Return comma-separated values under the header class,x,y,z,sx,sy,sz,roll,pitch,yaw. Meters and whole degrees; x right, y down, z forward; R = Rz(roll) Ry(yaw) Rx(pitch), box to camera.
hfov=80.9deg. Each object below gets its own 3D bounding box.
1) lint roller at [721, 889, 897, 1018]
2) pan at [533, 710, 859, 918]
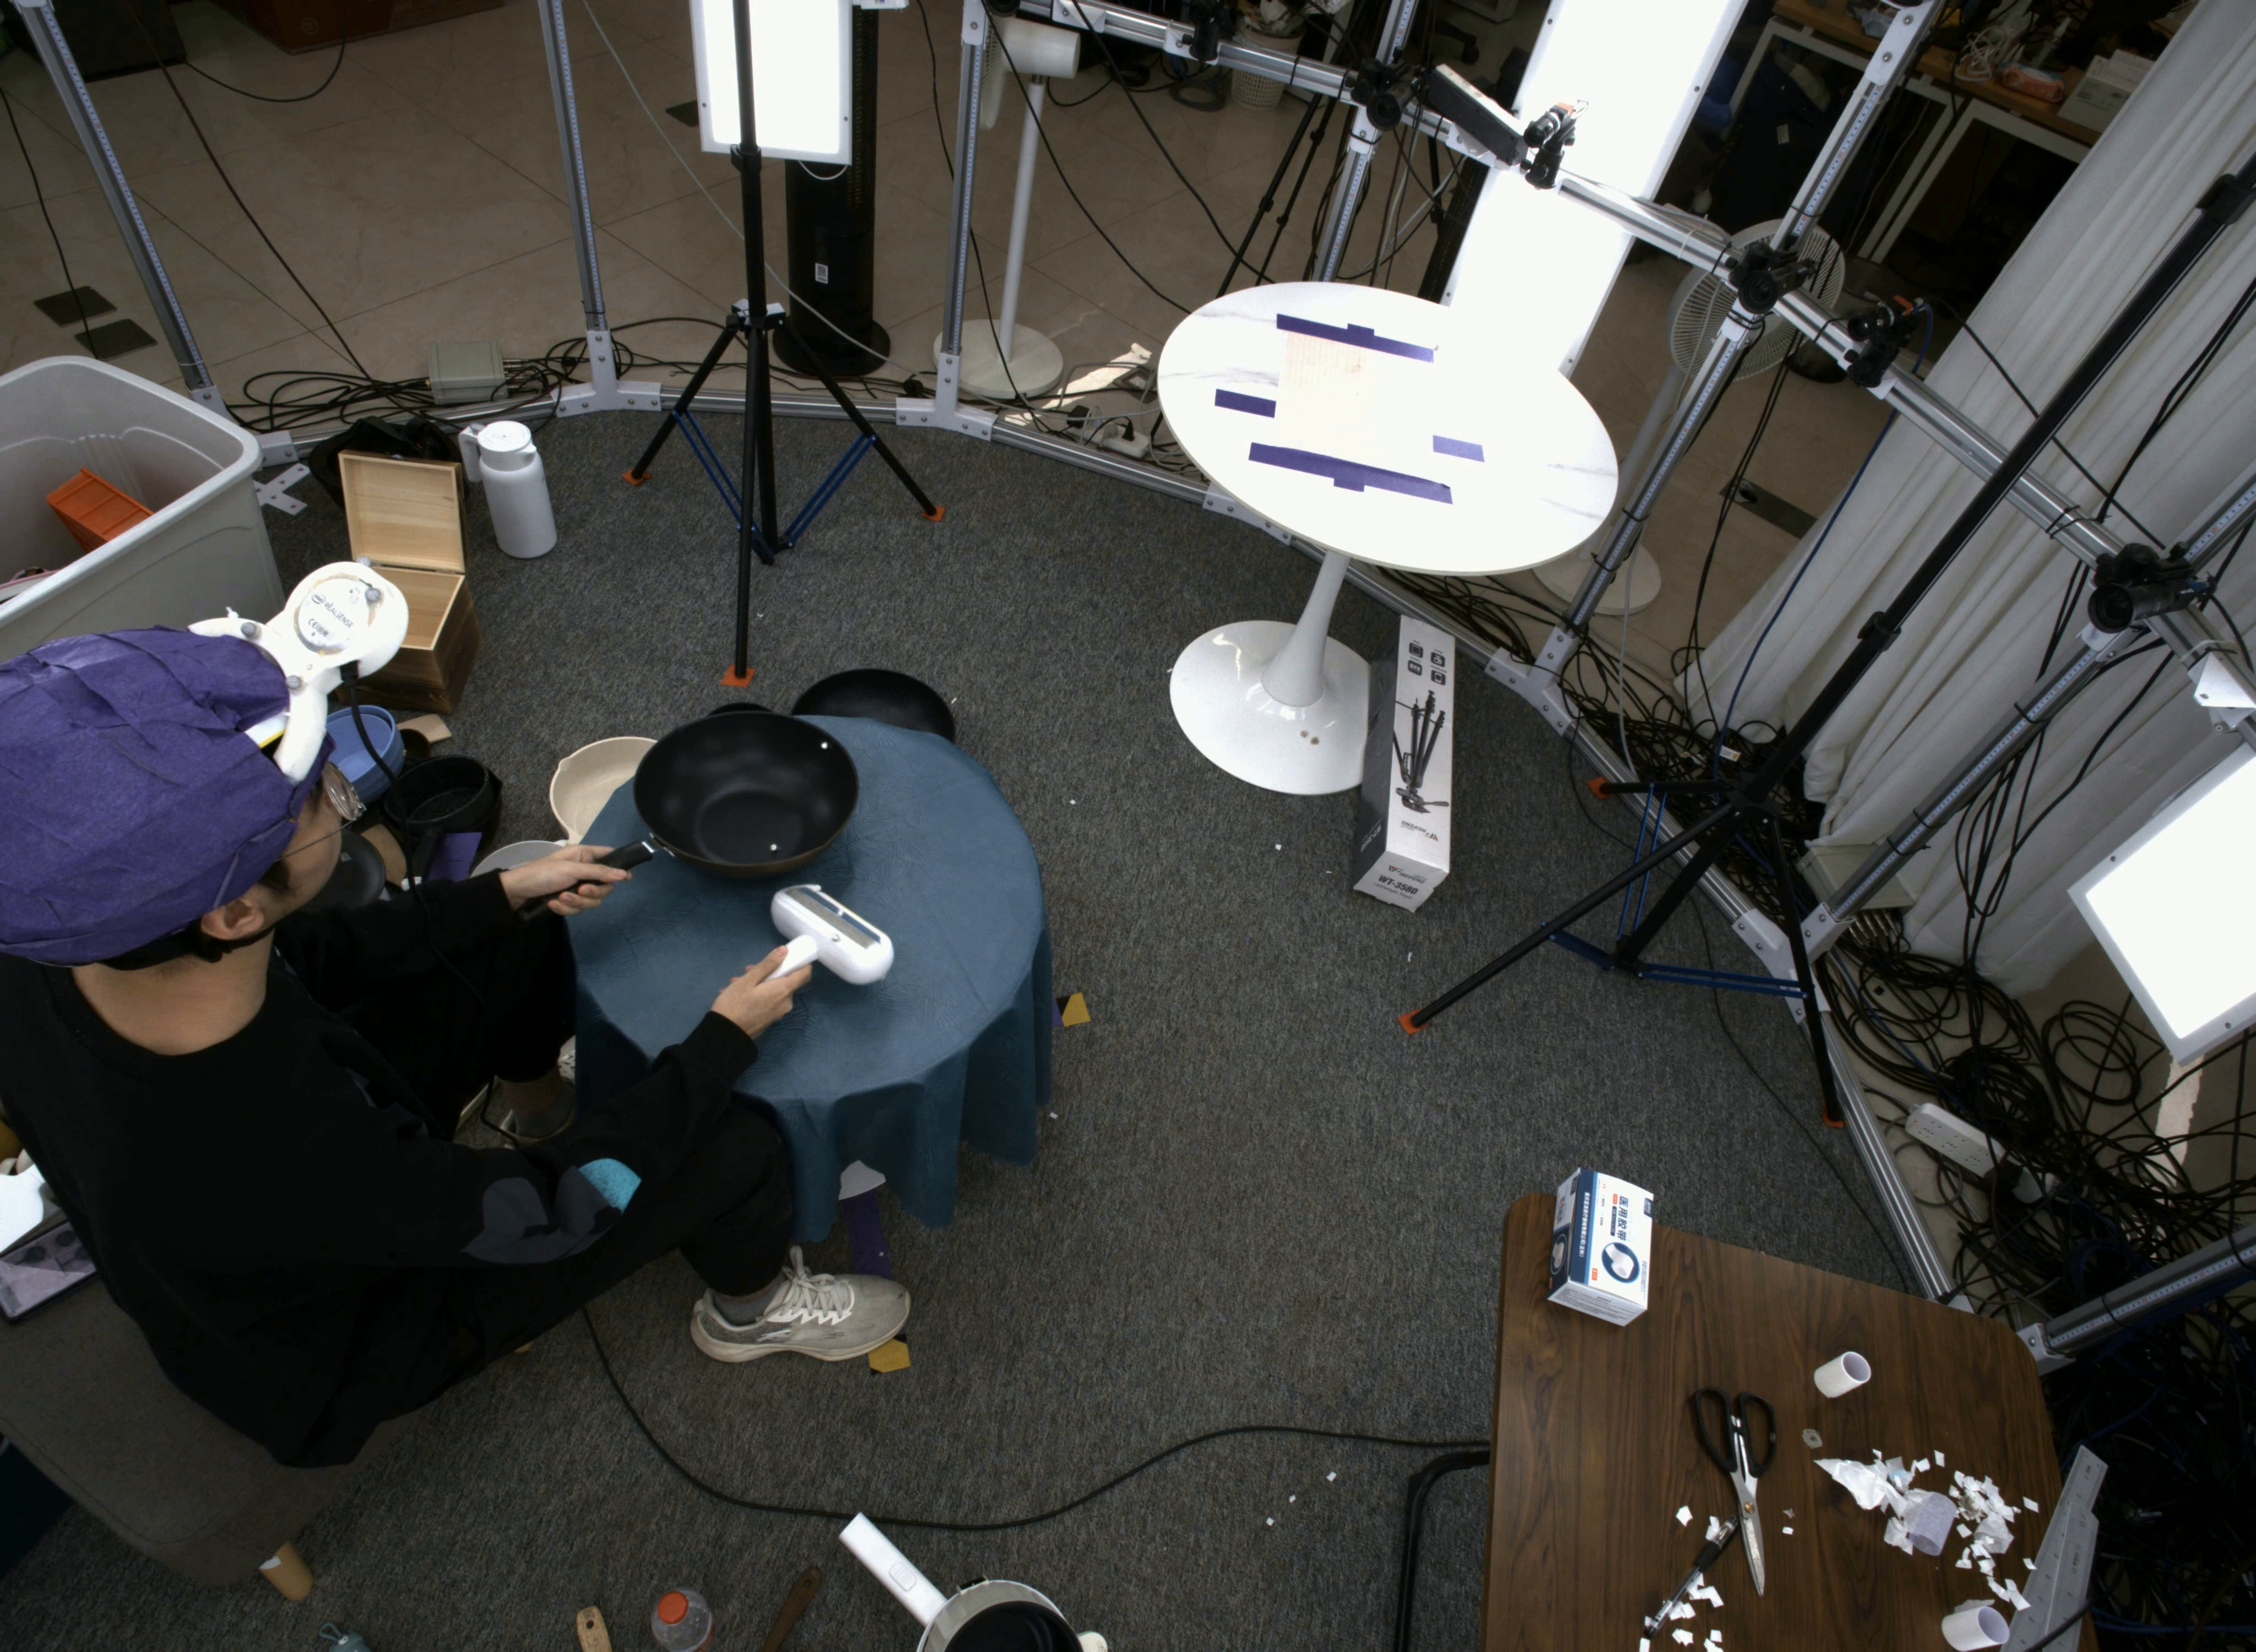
class,x,y,z,sx,sy,sz,roll,pitch,yaw
lint roller,-0.399,0.157,1.544,0.193,0.076,0.186,-28,45,-37
pan,-0.547,0.015,1.612,0.280,0.089,0.464,36,49,21
